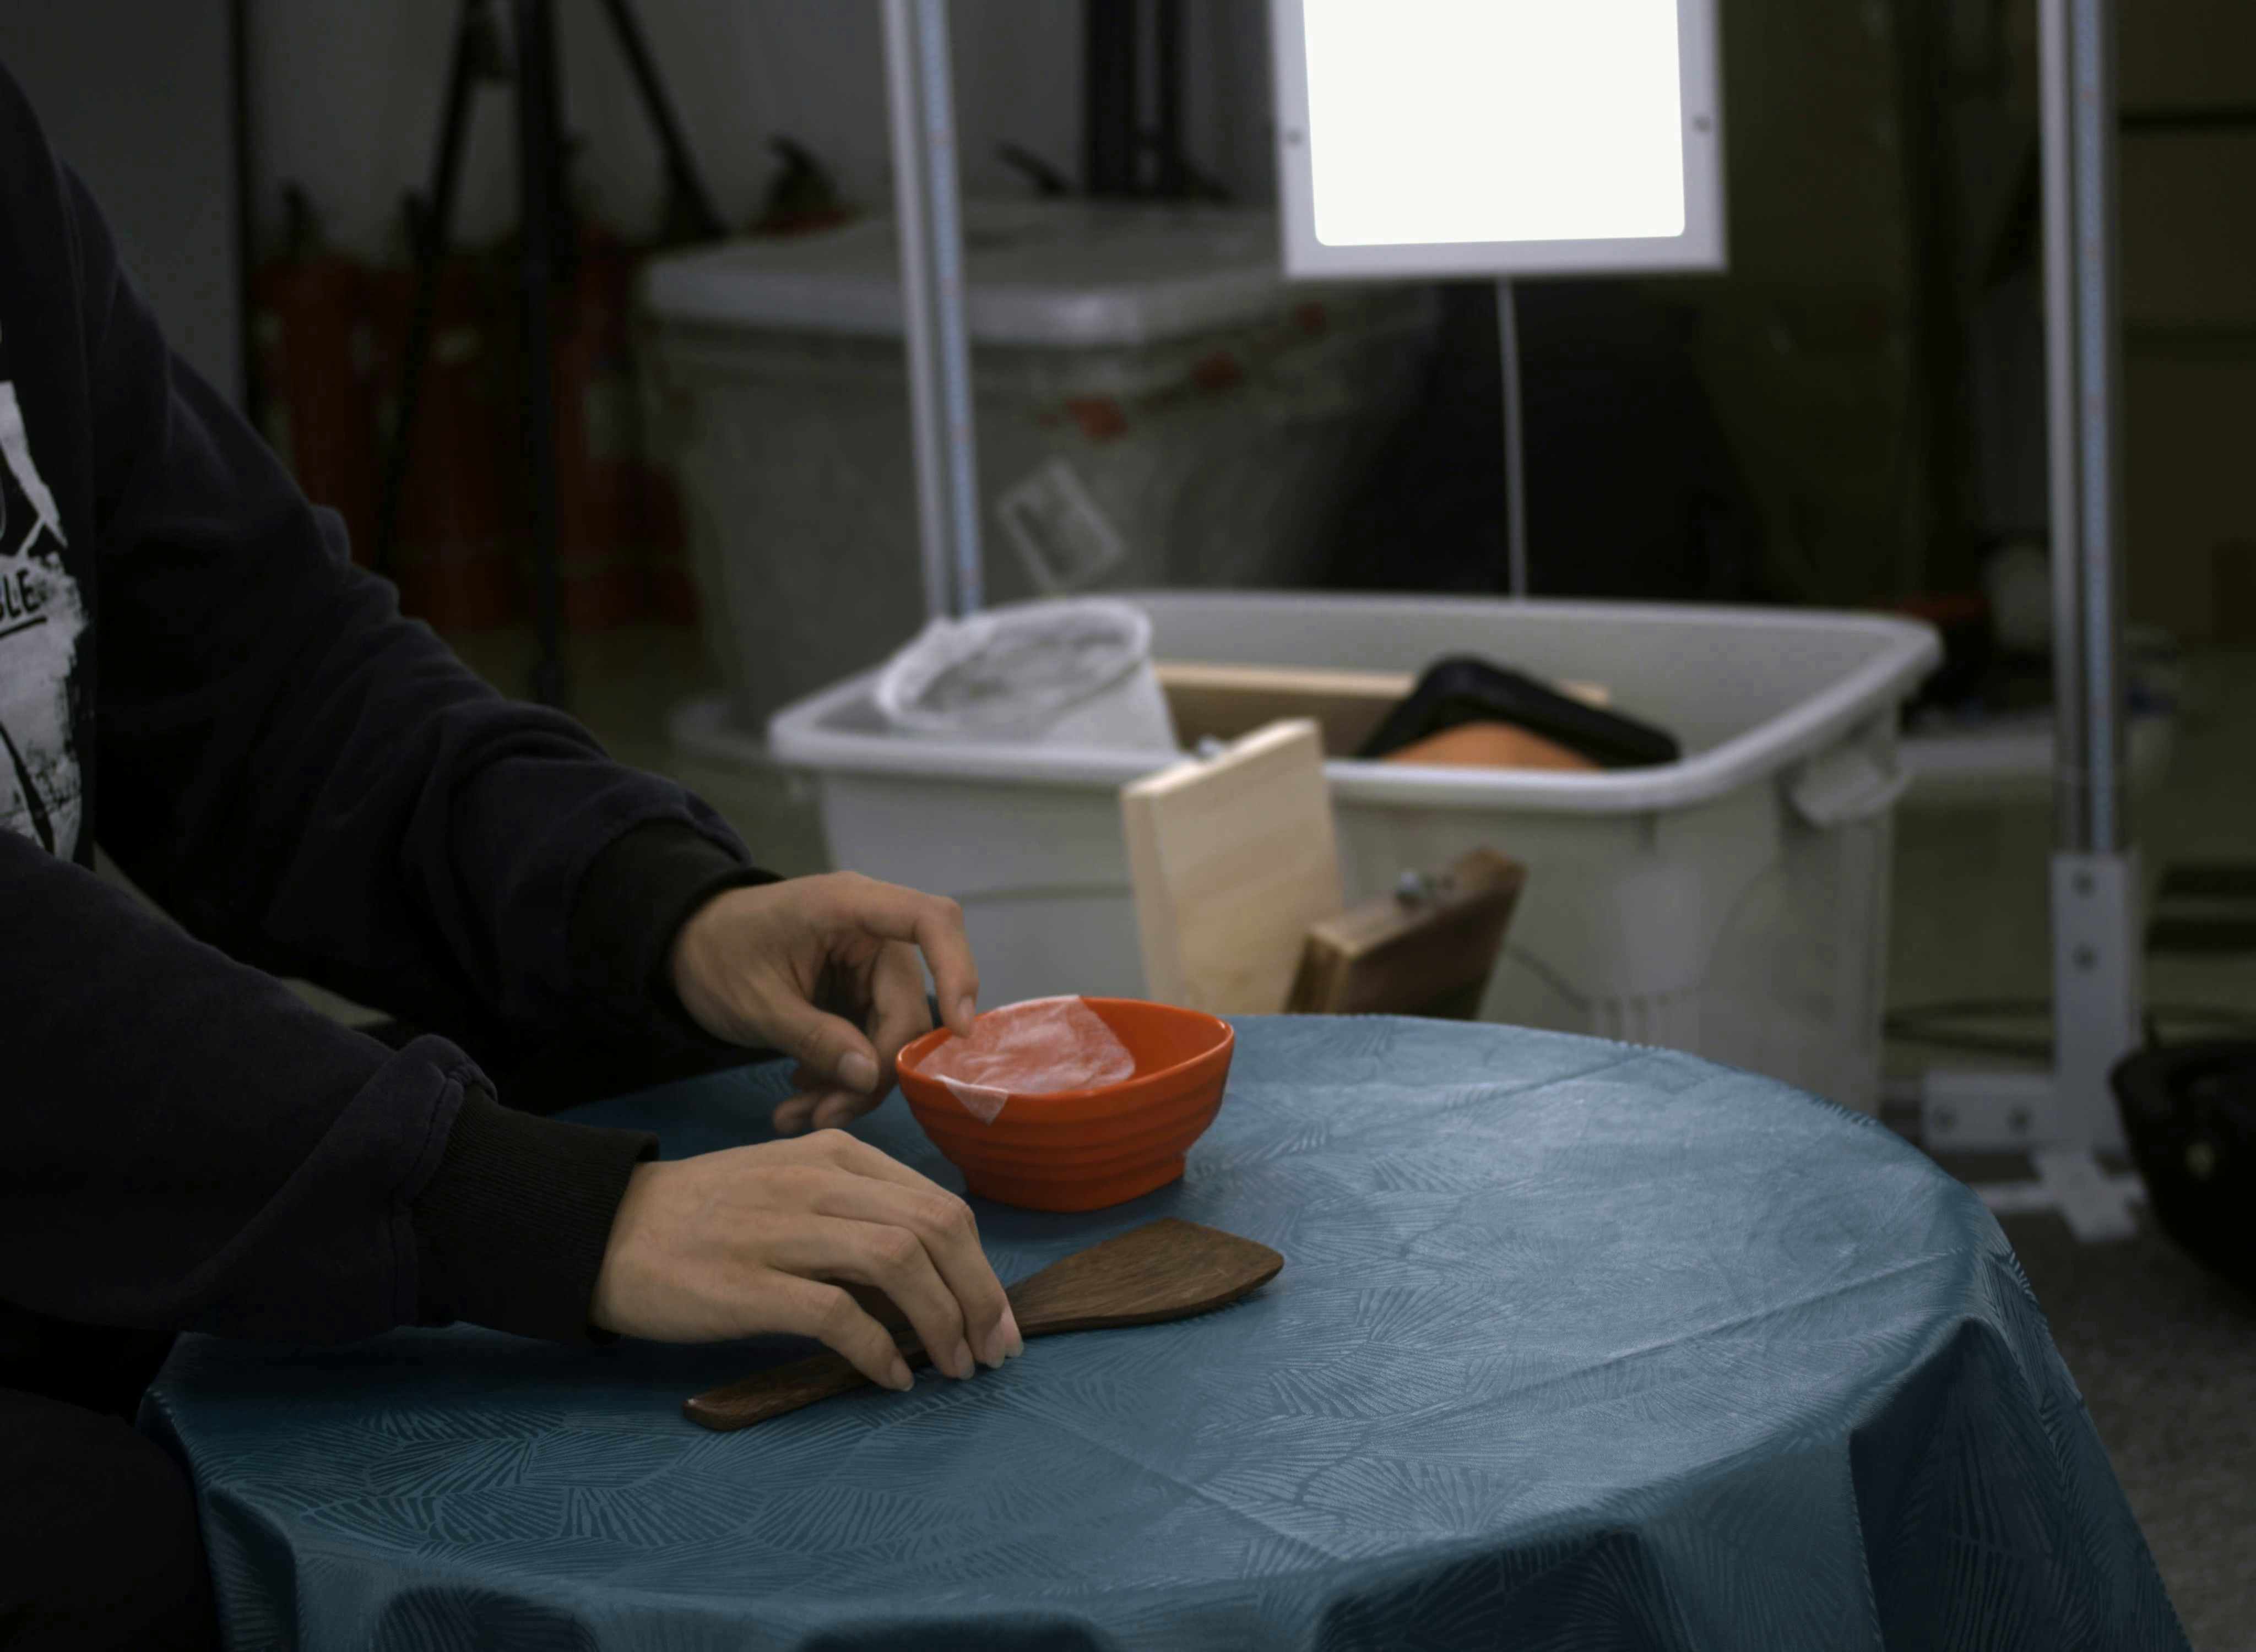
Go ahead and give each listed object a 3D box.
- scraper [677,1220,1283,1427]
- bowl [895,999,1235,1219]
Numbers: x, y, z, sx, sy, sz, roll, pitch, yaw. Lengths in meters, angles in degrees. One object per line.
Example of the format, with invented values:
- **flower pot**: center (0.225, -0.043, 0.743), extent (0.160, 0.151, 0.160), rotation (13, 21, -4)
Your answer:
- **scraper**: center (-0.049, 0.161, 1.759), extent (0.206, 0.011, 0.077), rotation (-14, 16, -31)
- **bowl**: center (-0.020, 0.101, 1.911), extent (0.118, 0.051, 0.119), rotation (-5, 15, 0)
